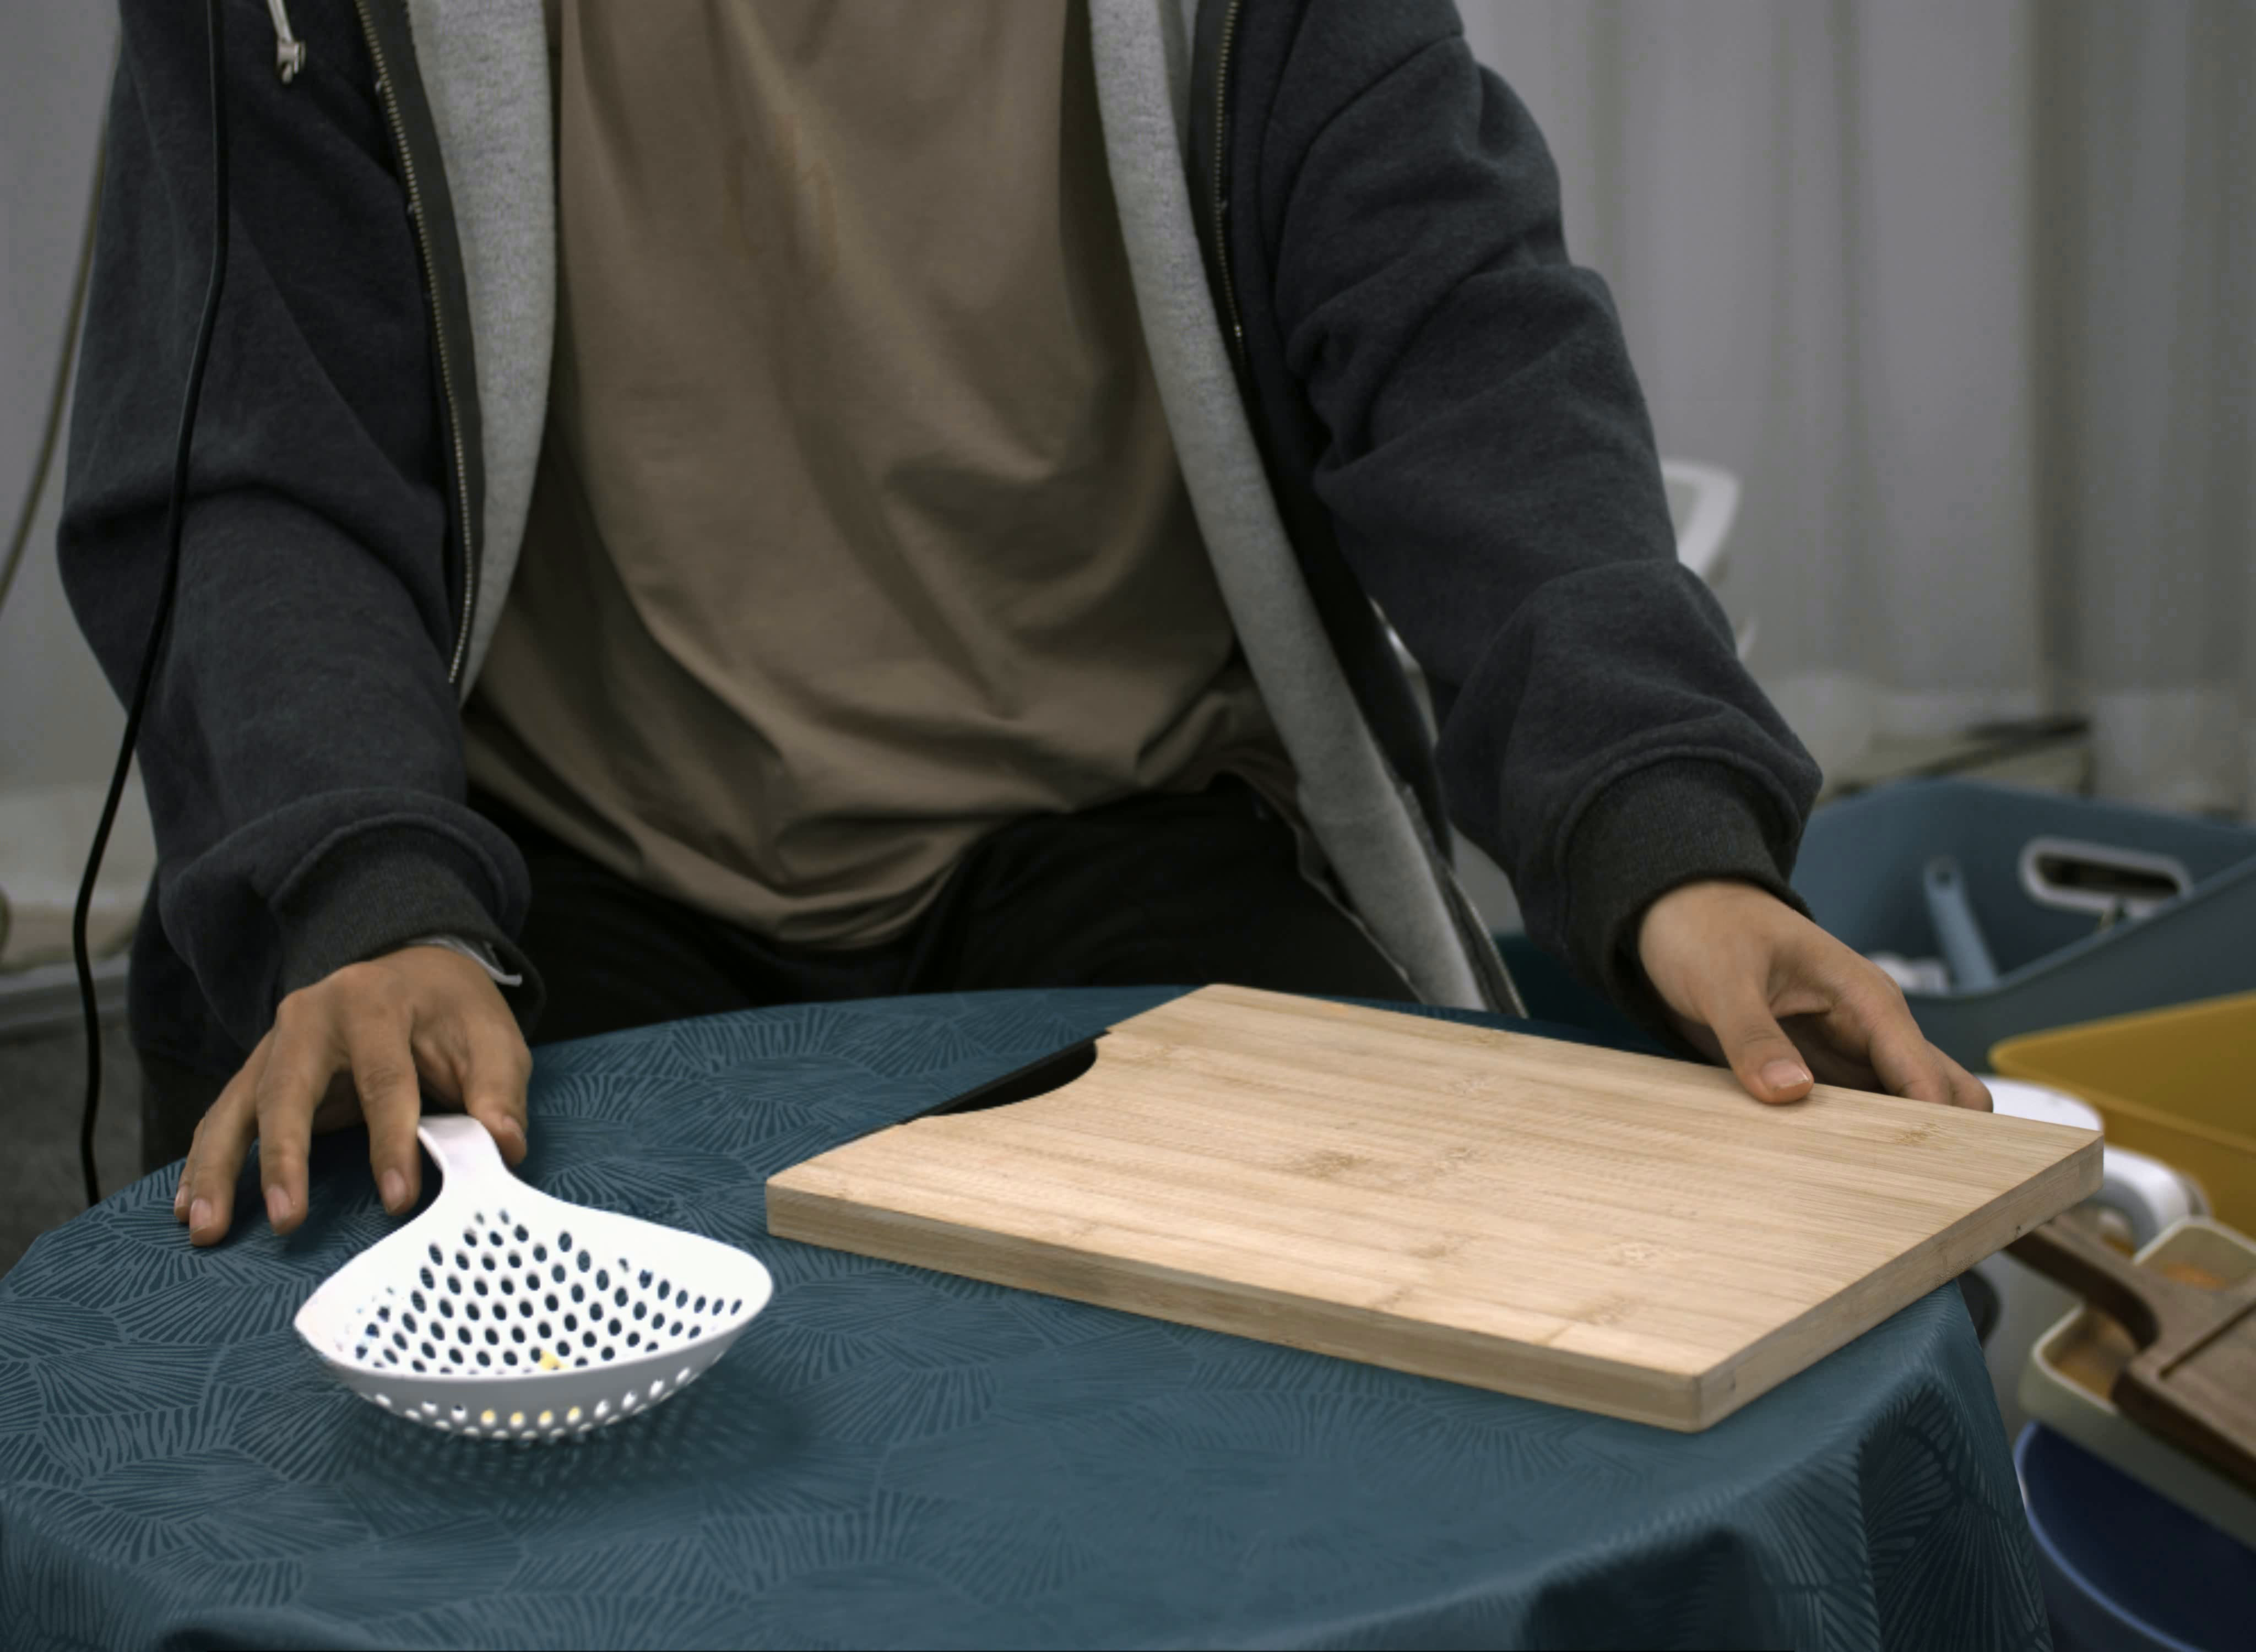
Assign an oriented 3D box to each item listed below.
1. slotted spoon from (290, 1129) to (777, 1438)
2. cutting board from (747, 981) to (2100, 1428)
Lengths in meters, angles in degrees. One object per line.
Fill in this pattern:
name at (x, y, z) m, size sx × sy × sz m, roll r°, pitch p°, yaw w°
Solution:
slotted spoon at (-0.194, 0.123, 1.643) m, size 0.136 × 0.050 × 0.351 m, roll -9°, pitch 16°, yaw -13°
cutting board at (0.089, 0.110, 1.683) m, size 0.350 × 0.023 × 0.250 m, roll 8°, pitch 18°, yaw 36°
